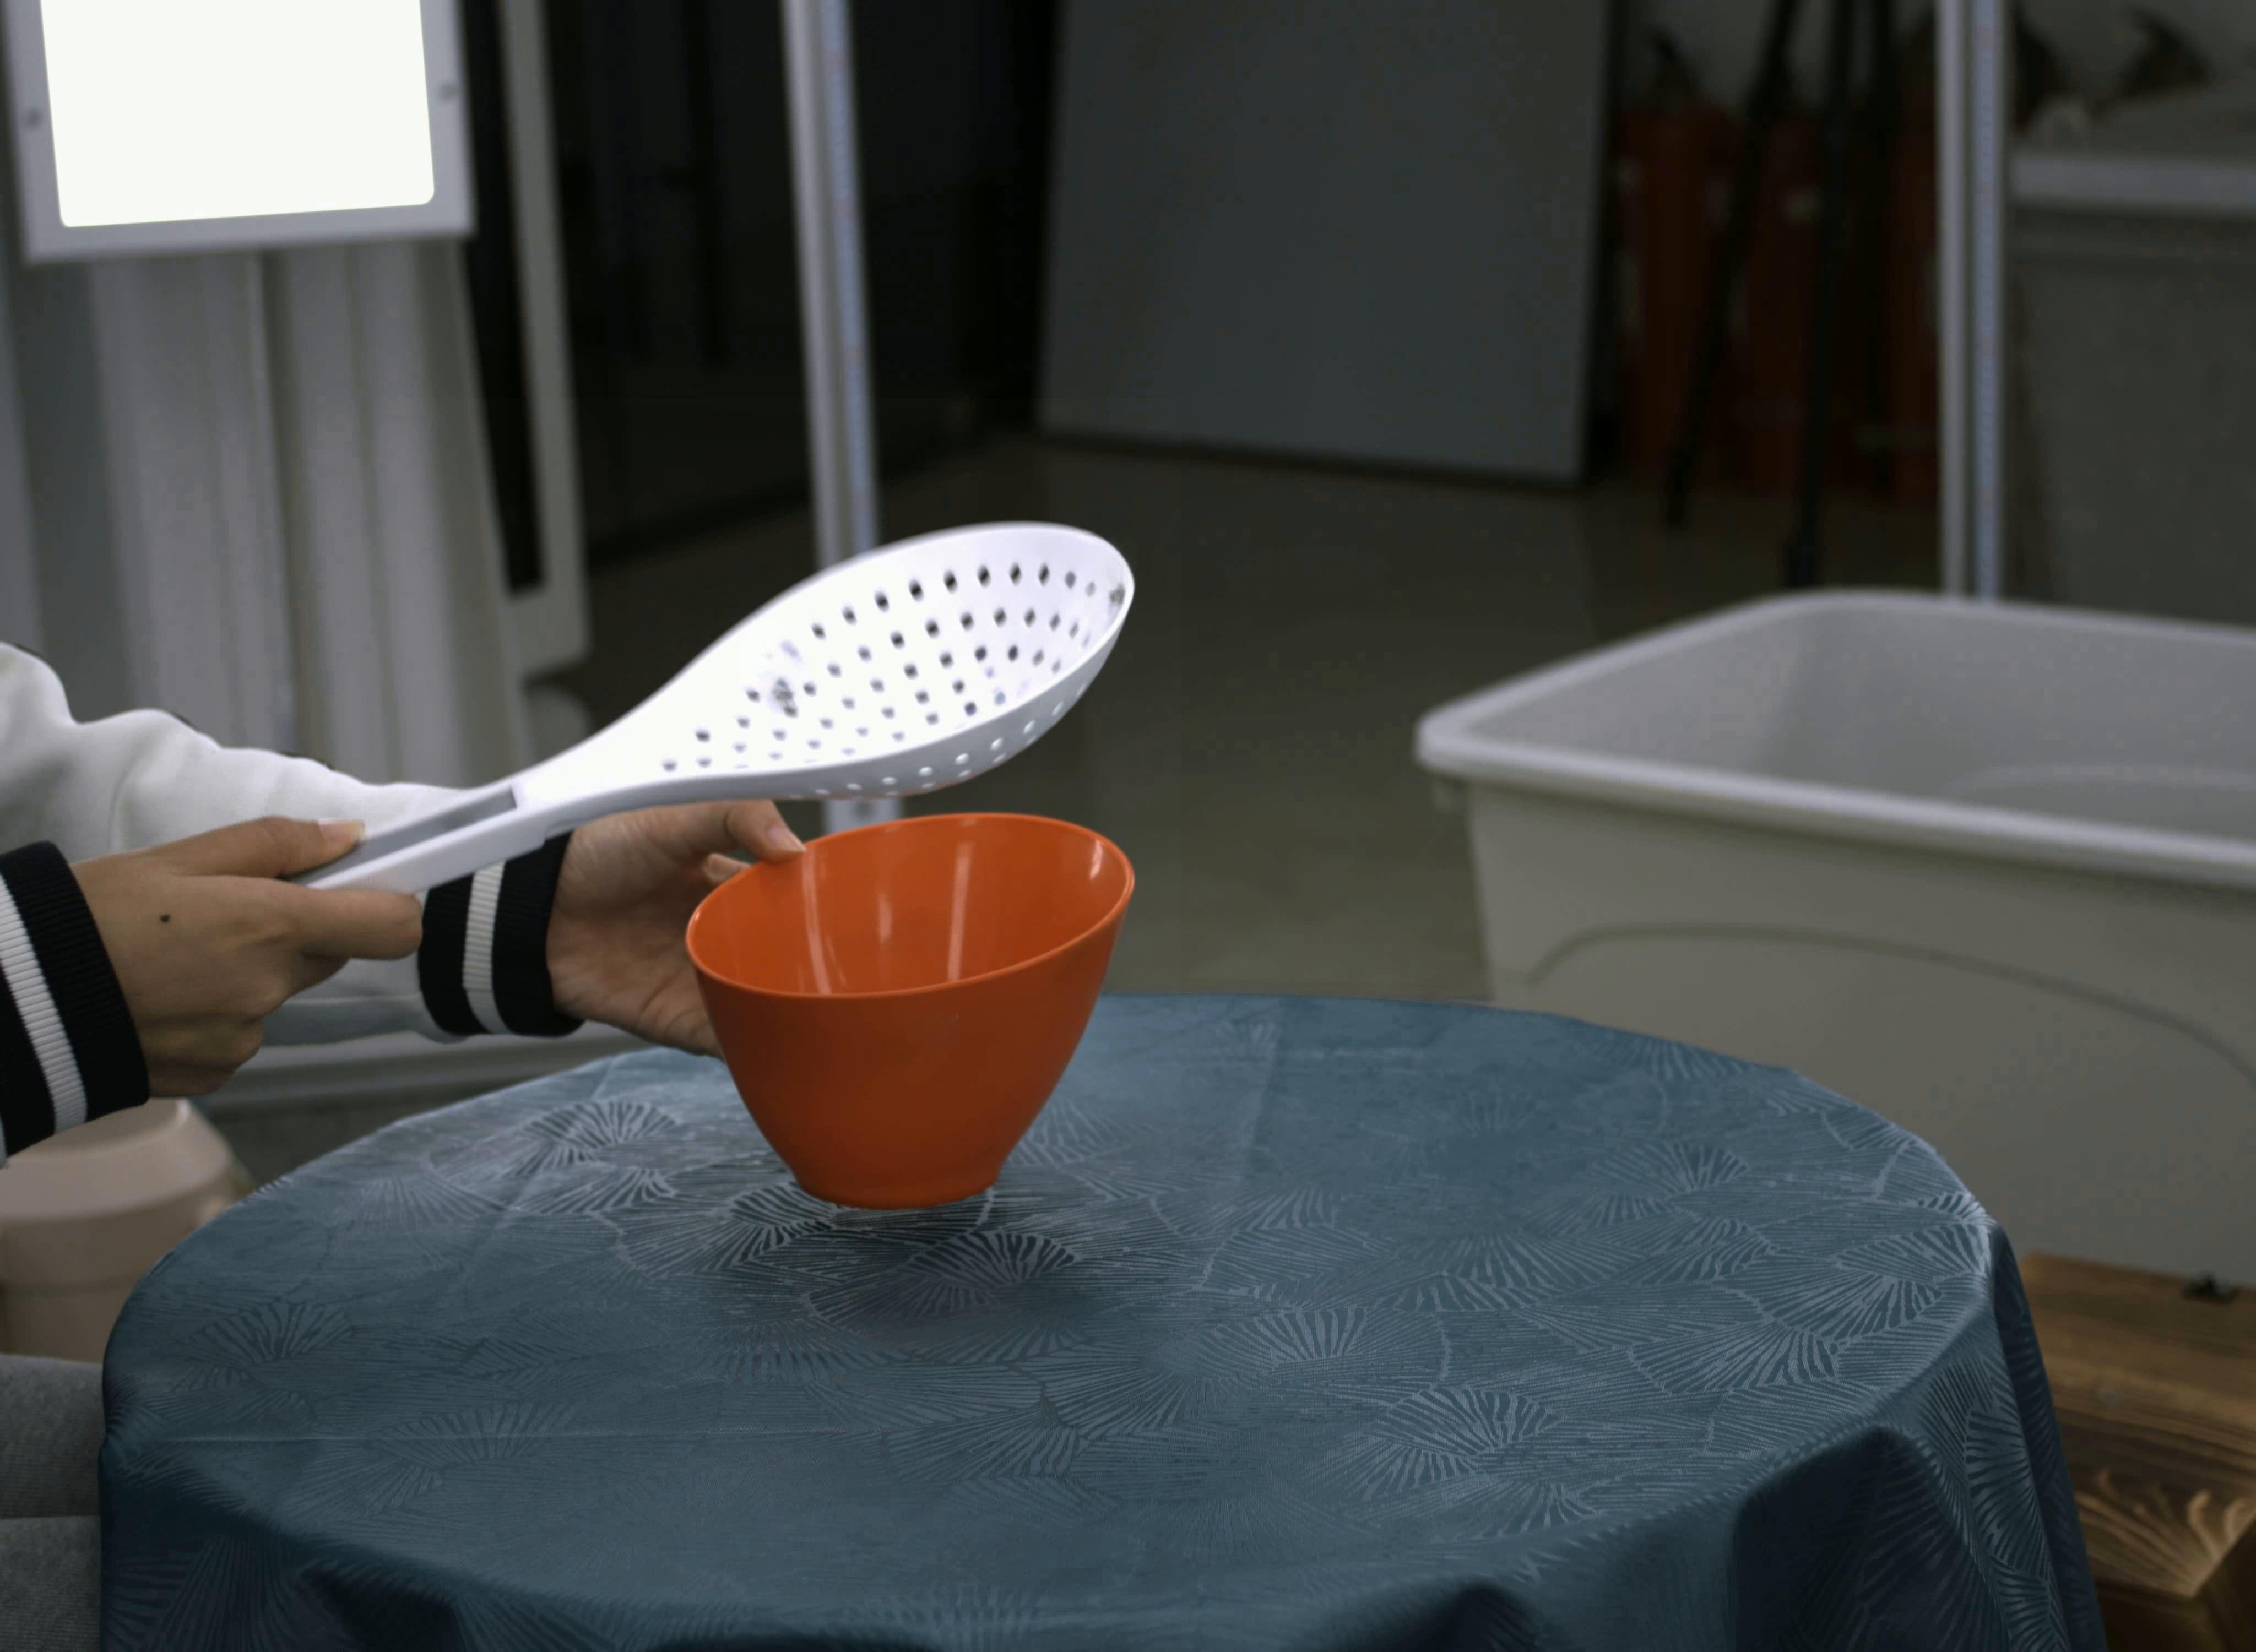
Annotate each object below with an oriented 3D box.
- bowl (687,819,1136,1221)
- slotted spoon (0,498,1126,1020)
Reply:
[{"bbox_3d":[-0.069,0.066,1.757,0.146,0.106,0.148,-1,15,-1],"label":"bowl"},{"bbox_3d":[-0.162,-0.015,1.564,0.345,0.046,0.137,-17,28,-6],"label":"slotted spoon"}]
